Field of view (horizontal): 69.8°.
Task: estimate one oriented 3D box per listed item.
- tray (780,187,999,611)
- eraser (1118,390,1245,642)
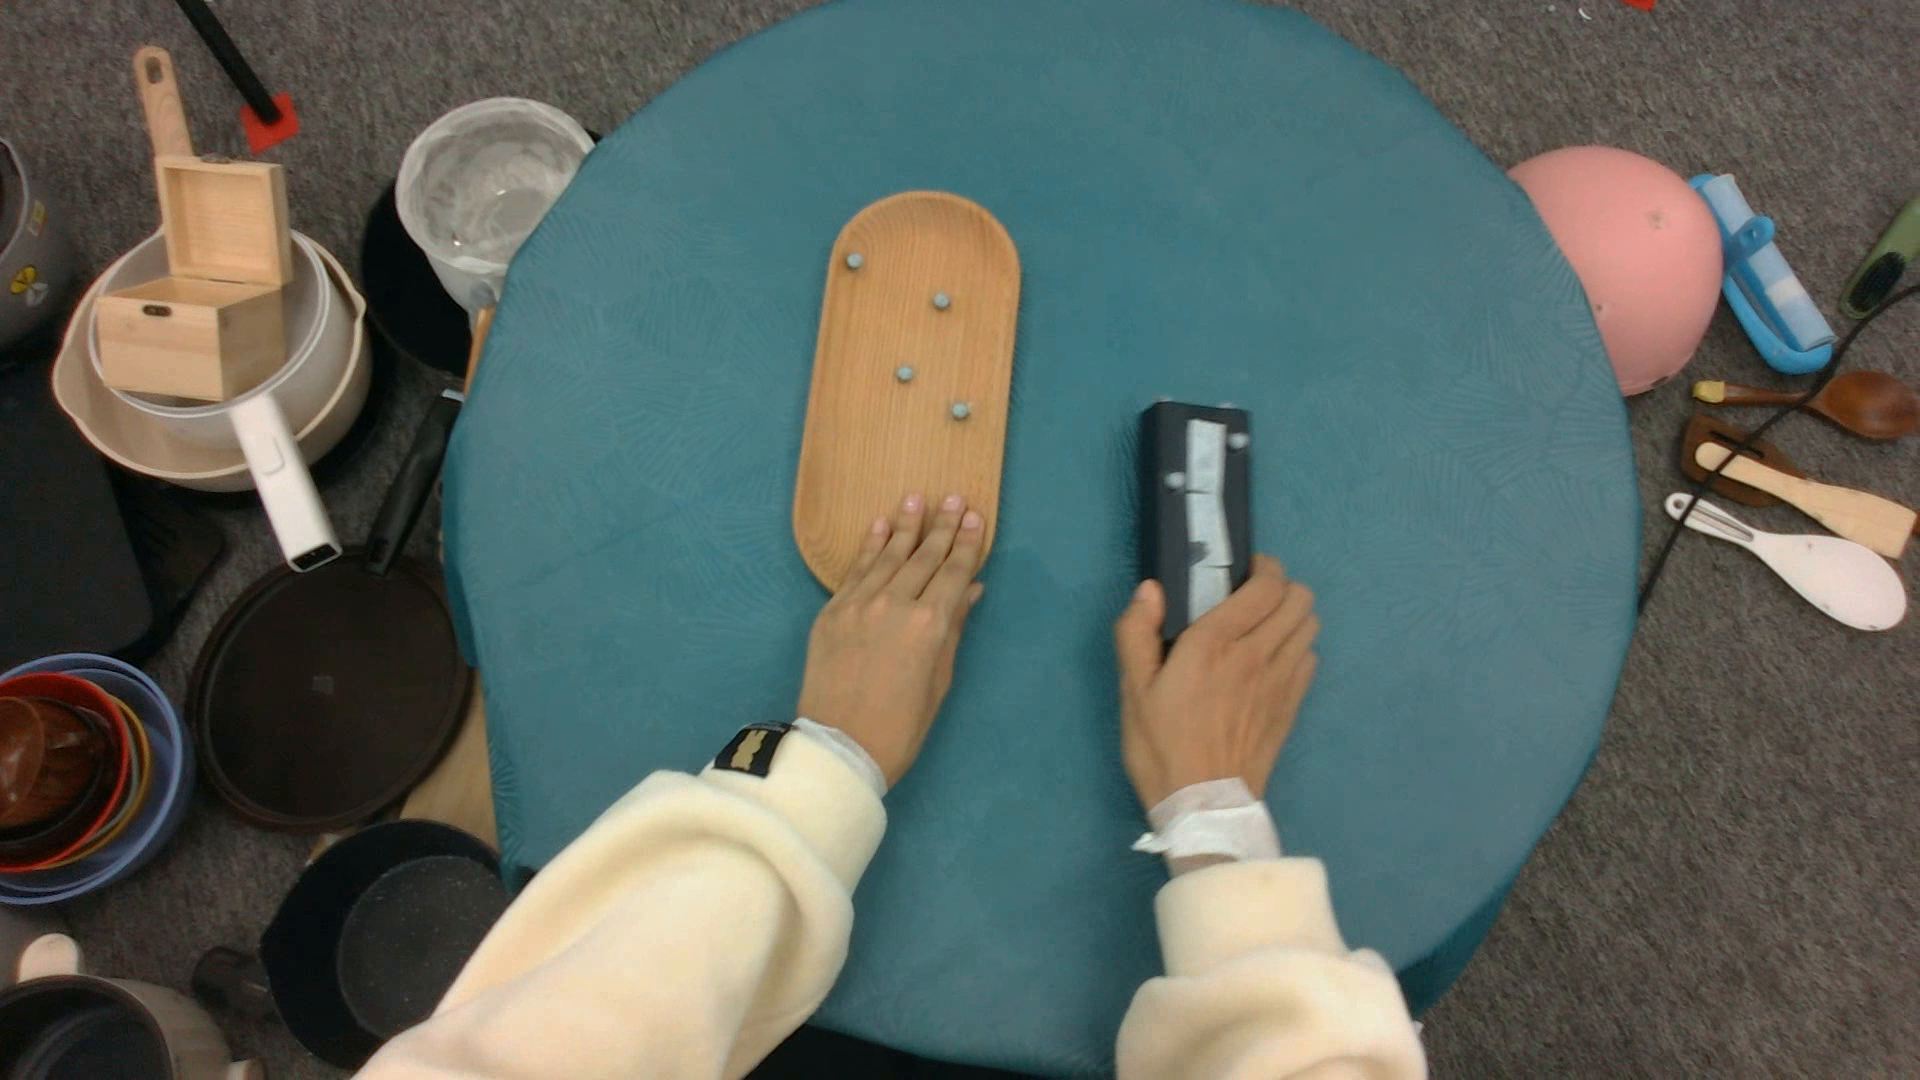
[{"bbox_3d":[-0.034,-0.075,0.697,0.102,0.020,0.232,4,73,-1],"label":"tray"},{"bbox_3d":[0.106,-0.012,0.671,0.053,0.030,0.126,2,71,-8],"label":"eraser"}]
